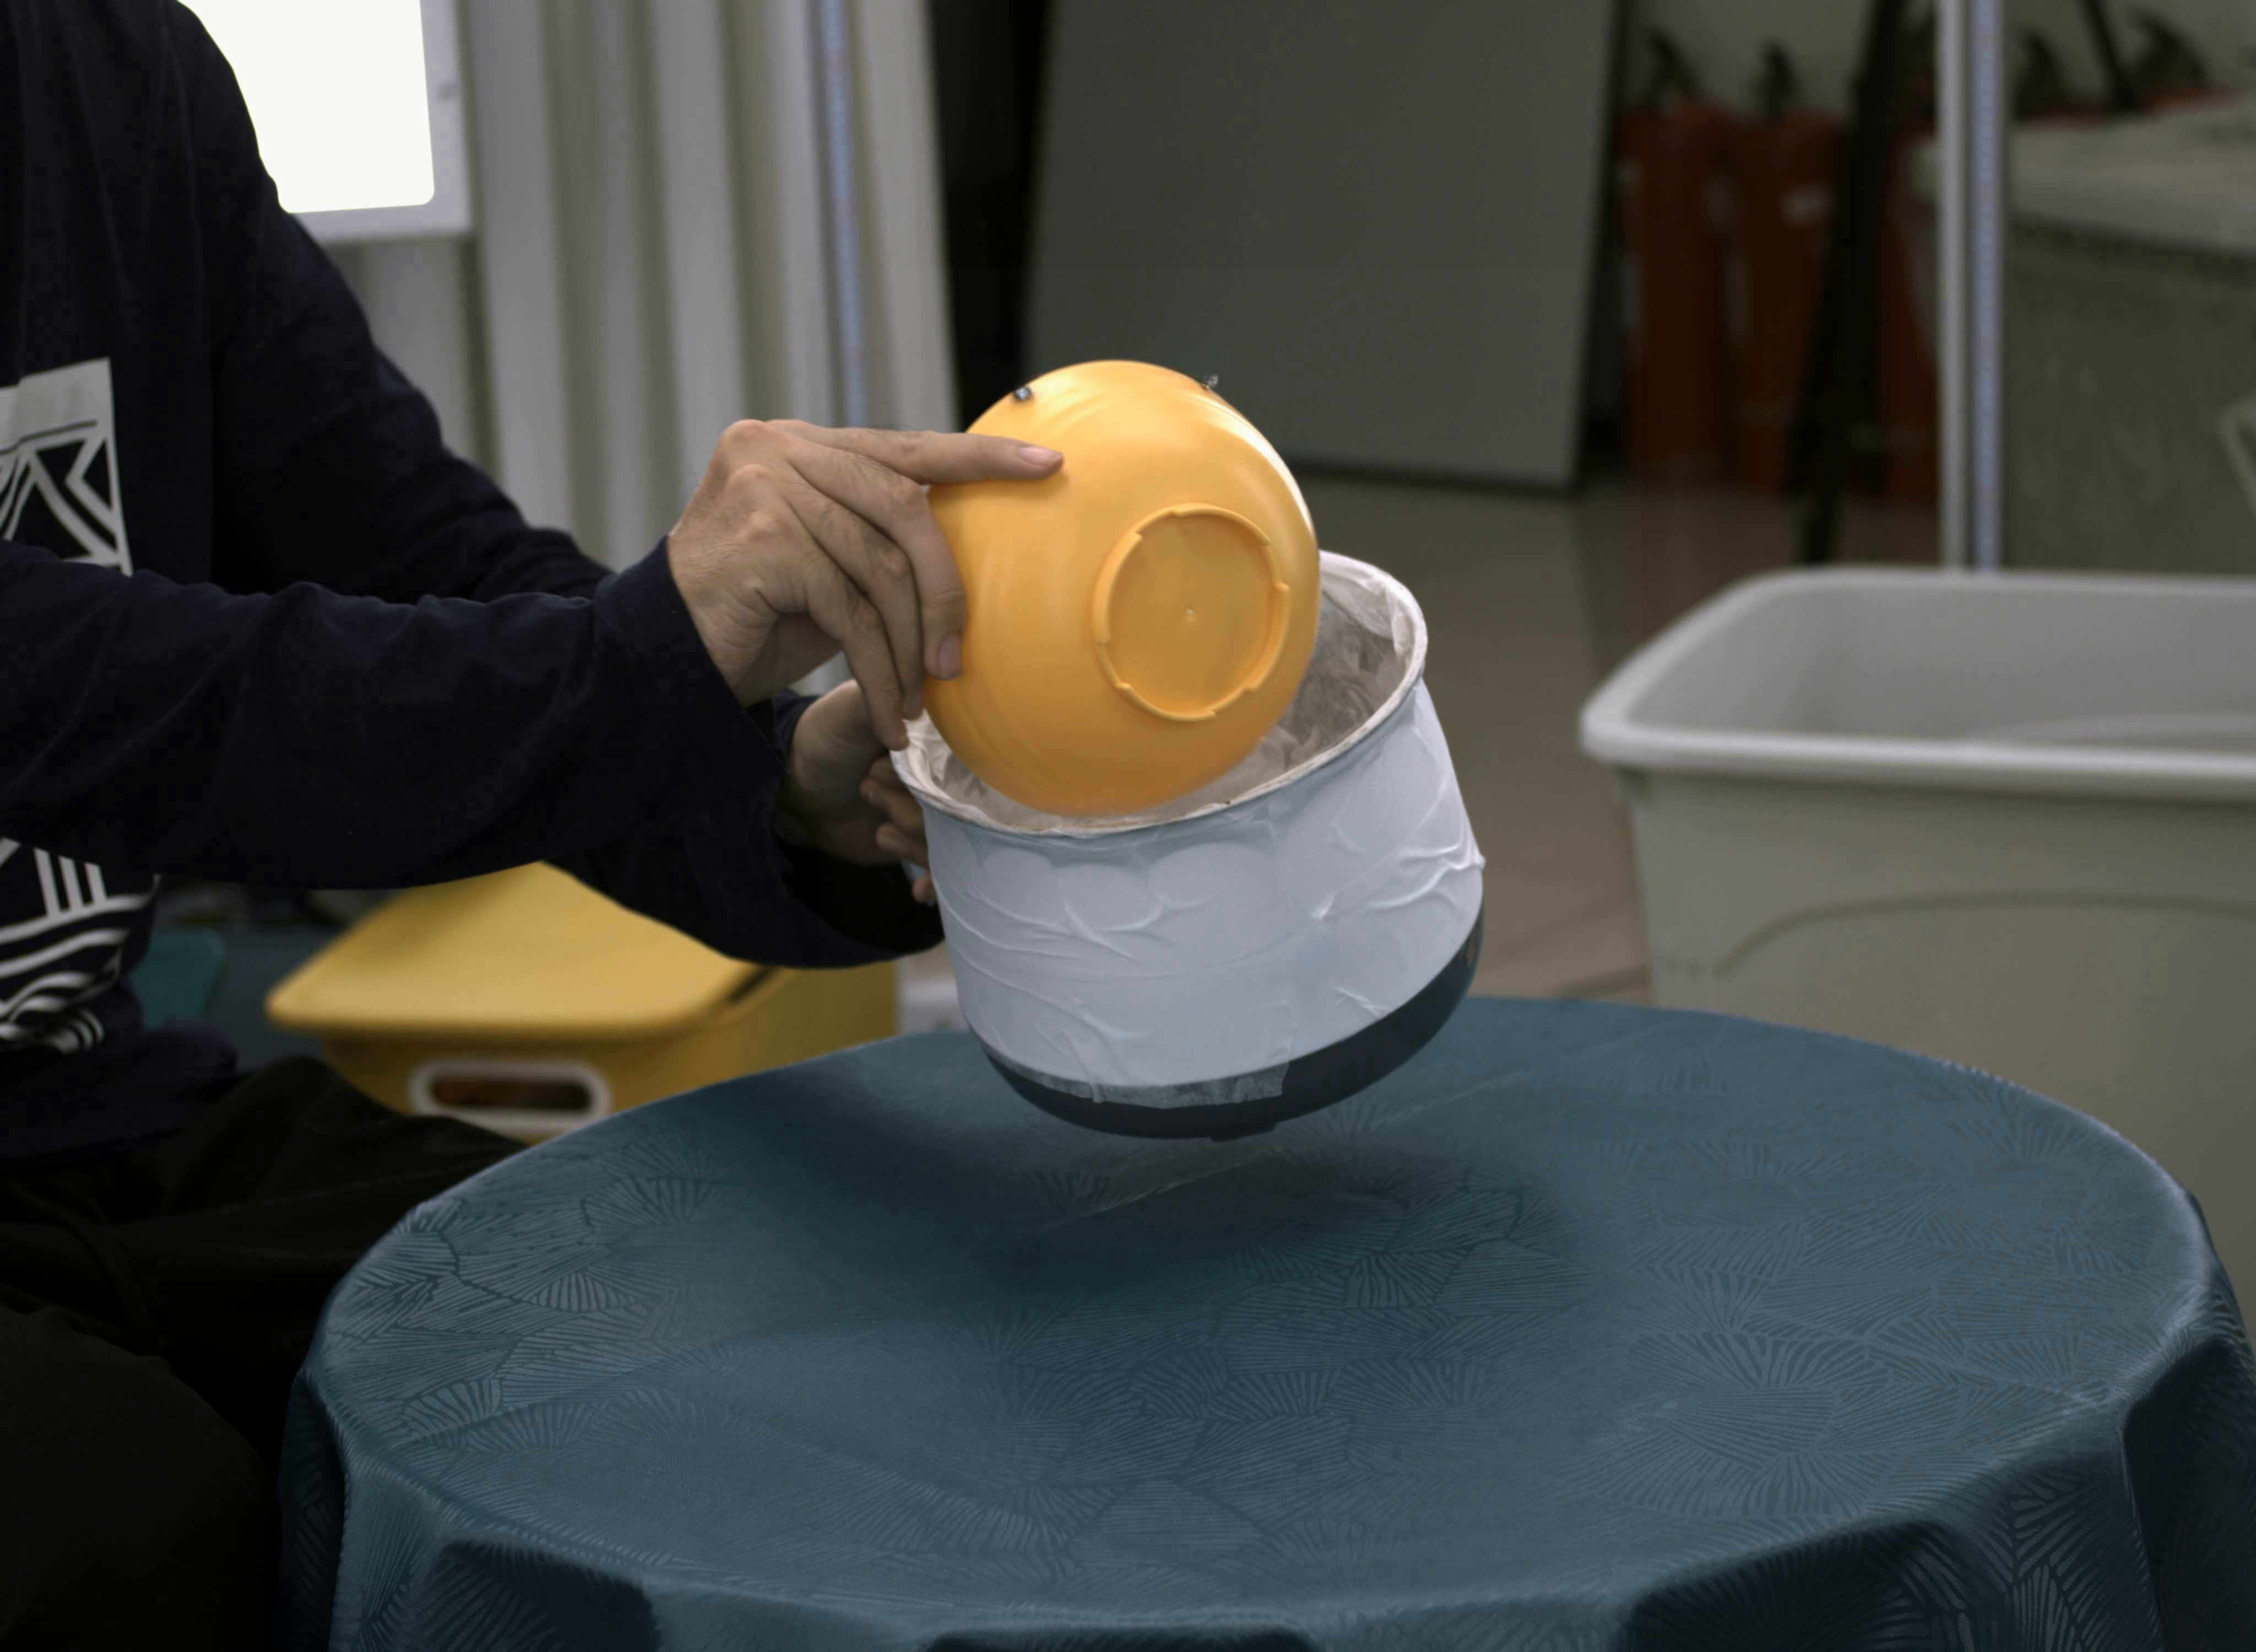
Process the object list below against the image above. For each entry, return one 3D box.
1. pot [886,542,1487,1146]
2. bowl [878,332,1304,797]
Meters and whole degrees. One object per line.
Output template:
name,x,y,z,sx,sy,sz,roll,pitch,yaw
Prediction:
pot,0.004,0.003,1.763,0.176,0.137,0.236,-36,33,-32
bowl,0.000,-0.074,1.653,0.142,0.147,0.061,-9,17,-24
